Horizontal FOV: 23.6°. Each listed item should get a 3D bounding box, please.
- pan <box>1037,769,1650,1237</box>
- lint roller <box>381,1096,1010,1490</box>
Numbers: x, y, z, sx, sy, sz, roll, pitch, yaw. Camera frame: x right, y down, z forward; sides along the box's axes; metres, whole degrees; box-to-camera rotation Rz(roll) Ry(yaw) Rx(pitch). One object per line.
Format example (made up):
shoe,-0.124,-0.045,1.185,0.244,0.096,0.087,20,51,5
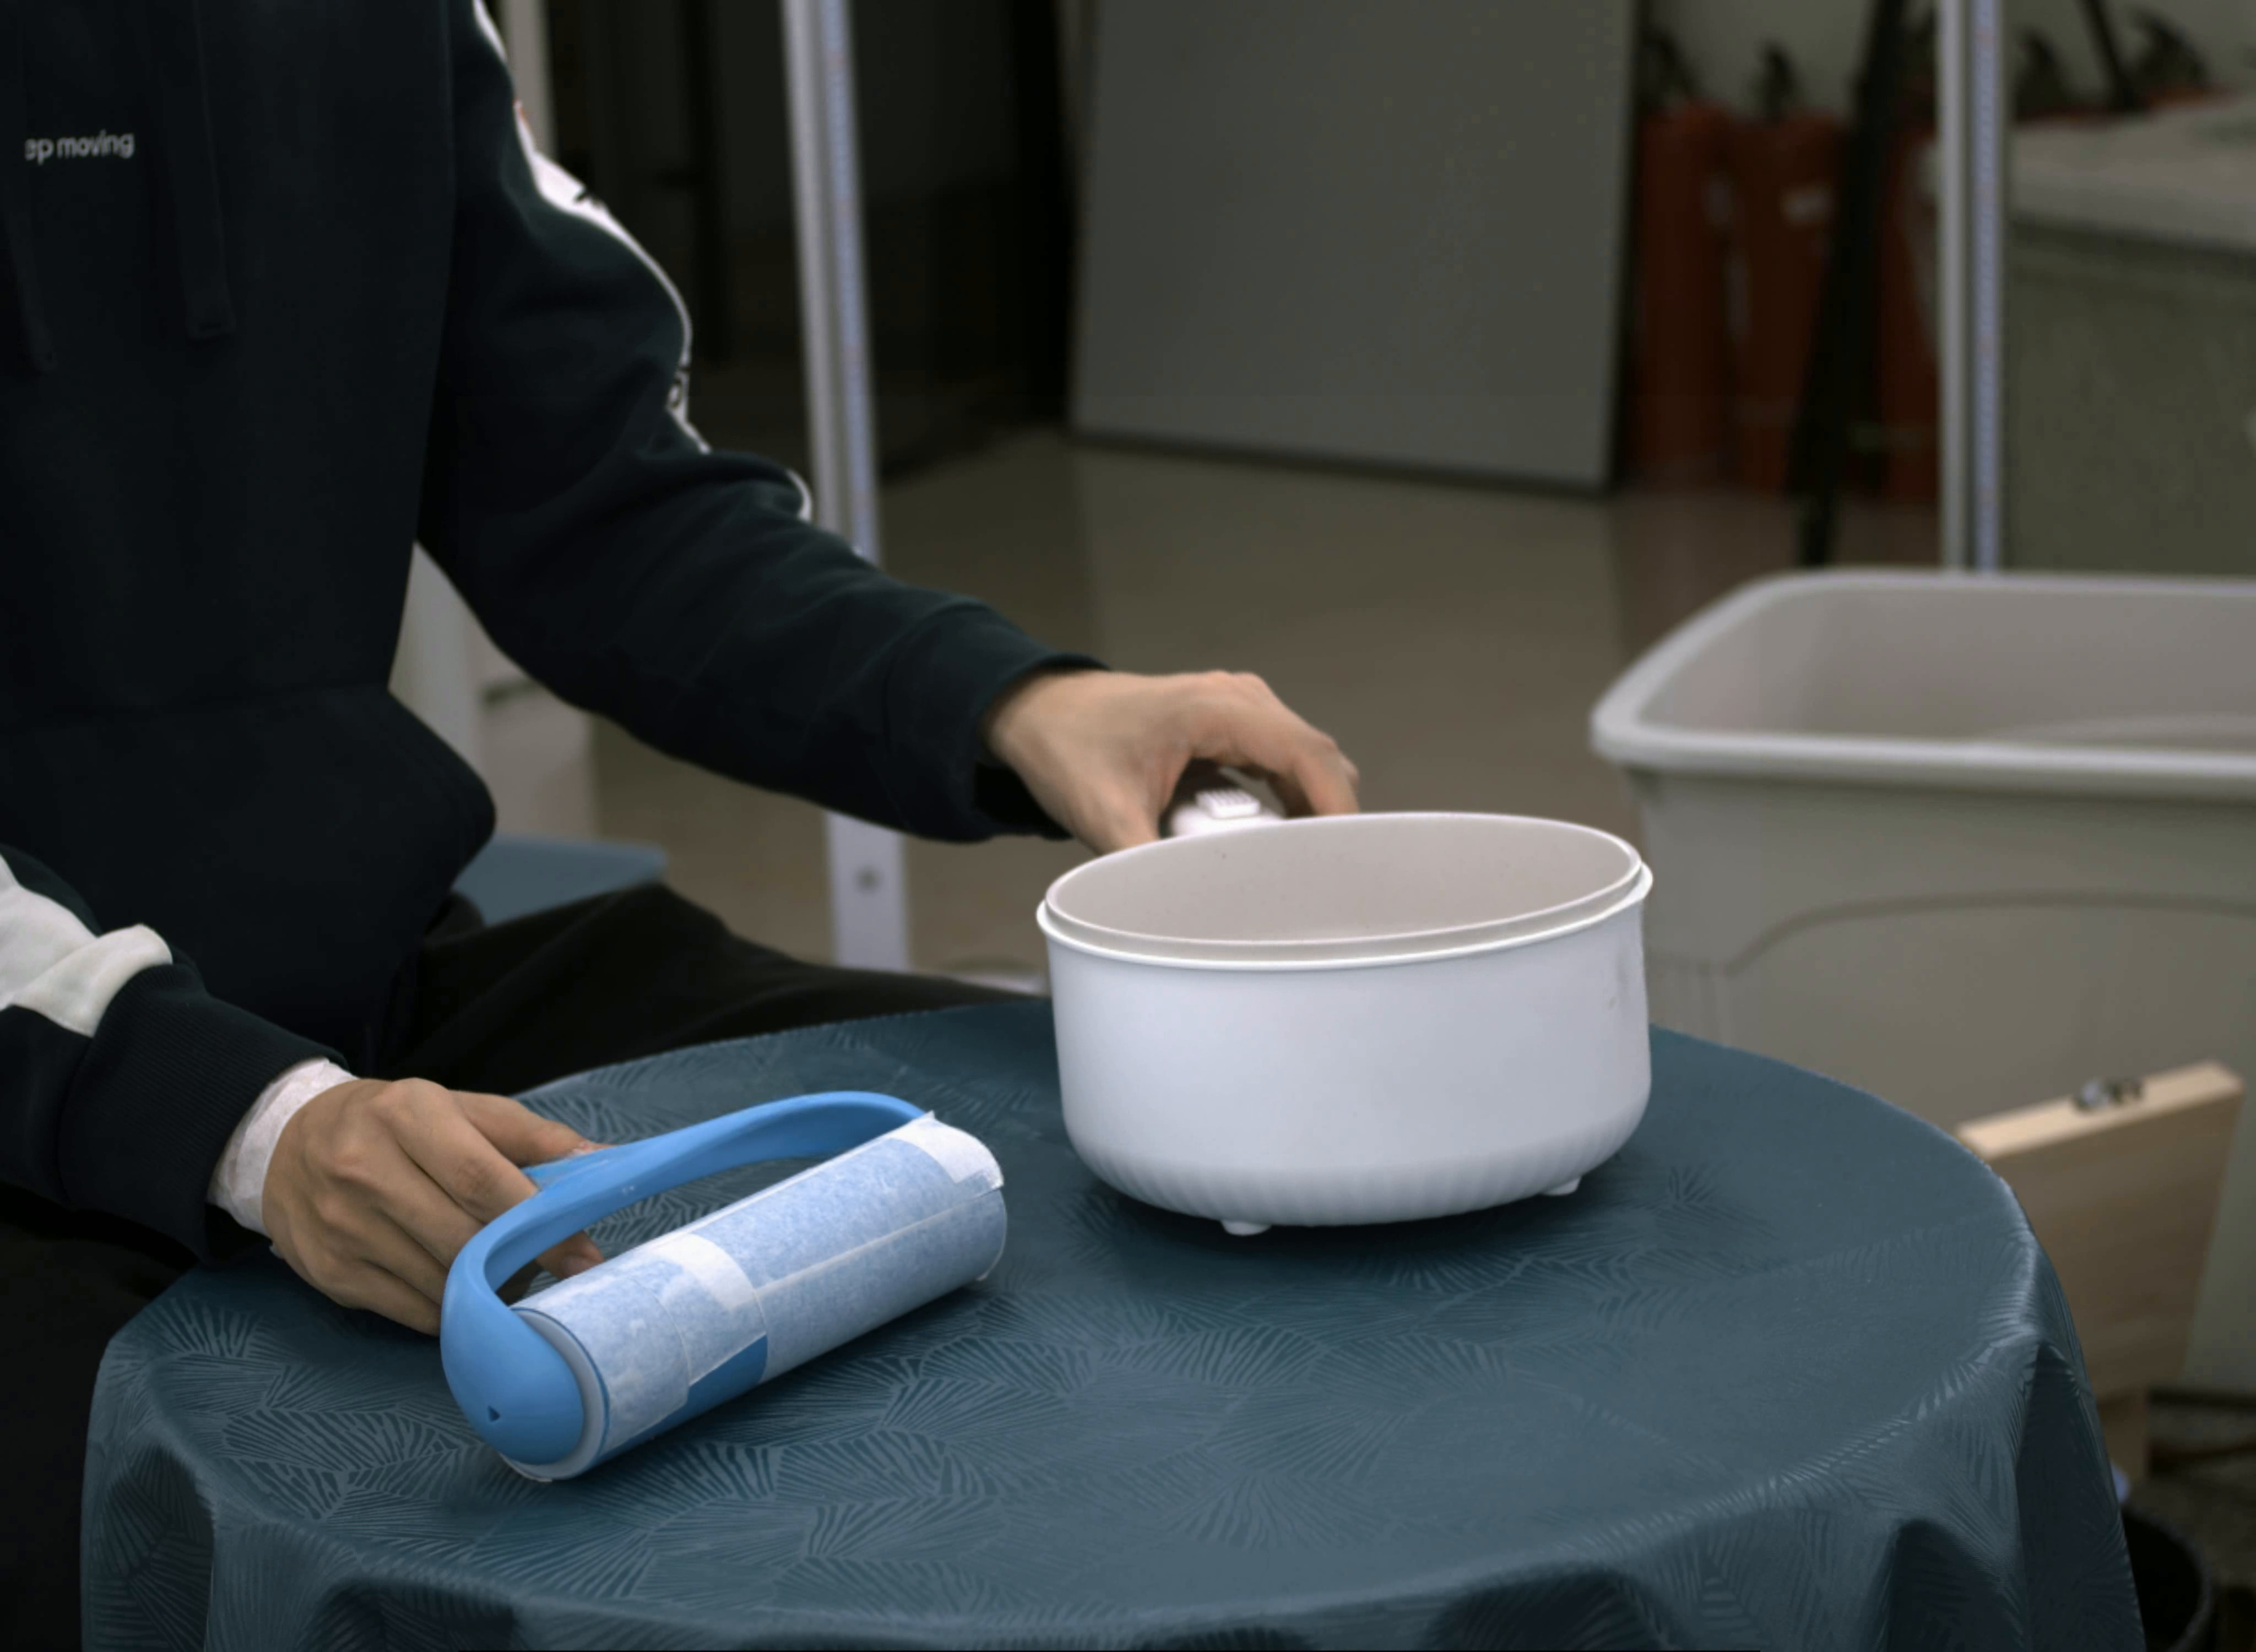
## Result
pan,0.057,0.054,1.828,0.197,0.103,0.357,-7,10,-11
lint roller,-0.161,0.134,1.647,0.181,0.068,0.225,7,19,33
